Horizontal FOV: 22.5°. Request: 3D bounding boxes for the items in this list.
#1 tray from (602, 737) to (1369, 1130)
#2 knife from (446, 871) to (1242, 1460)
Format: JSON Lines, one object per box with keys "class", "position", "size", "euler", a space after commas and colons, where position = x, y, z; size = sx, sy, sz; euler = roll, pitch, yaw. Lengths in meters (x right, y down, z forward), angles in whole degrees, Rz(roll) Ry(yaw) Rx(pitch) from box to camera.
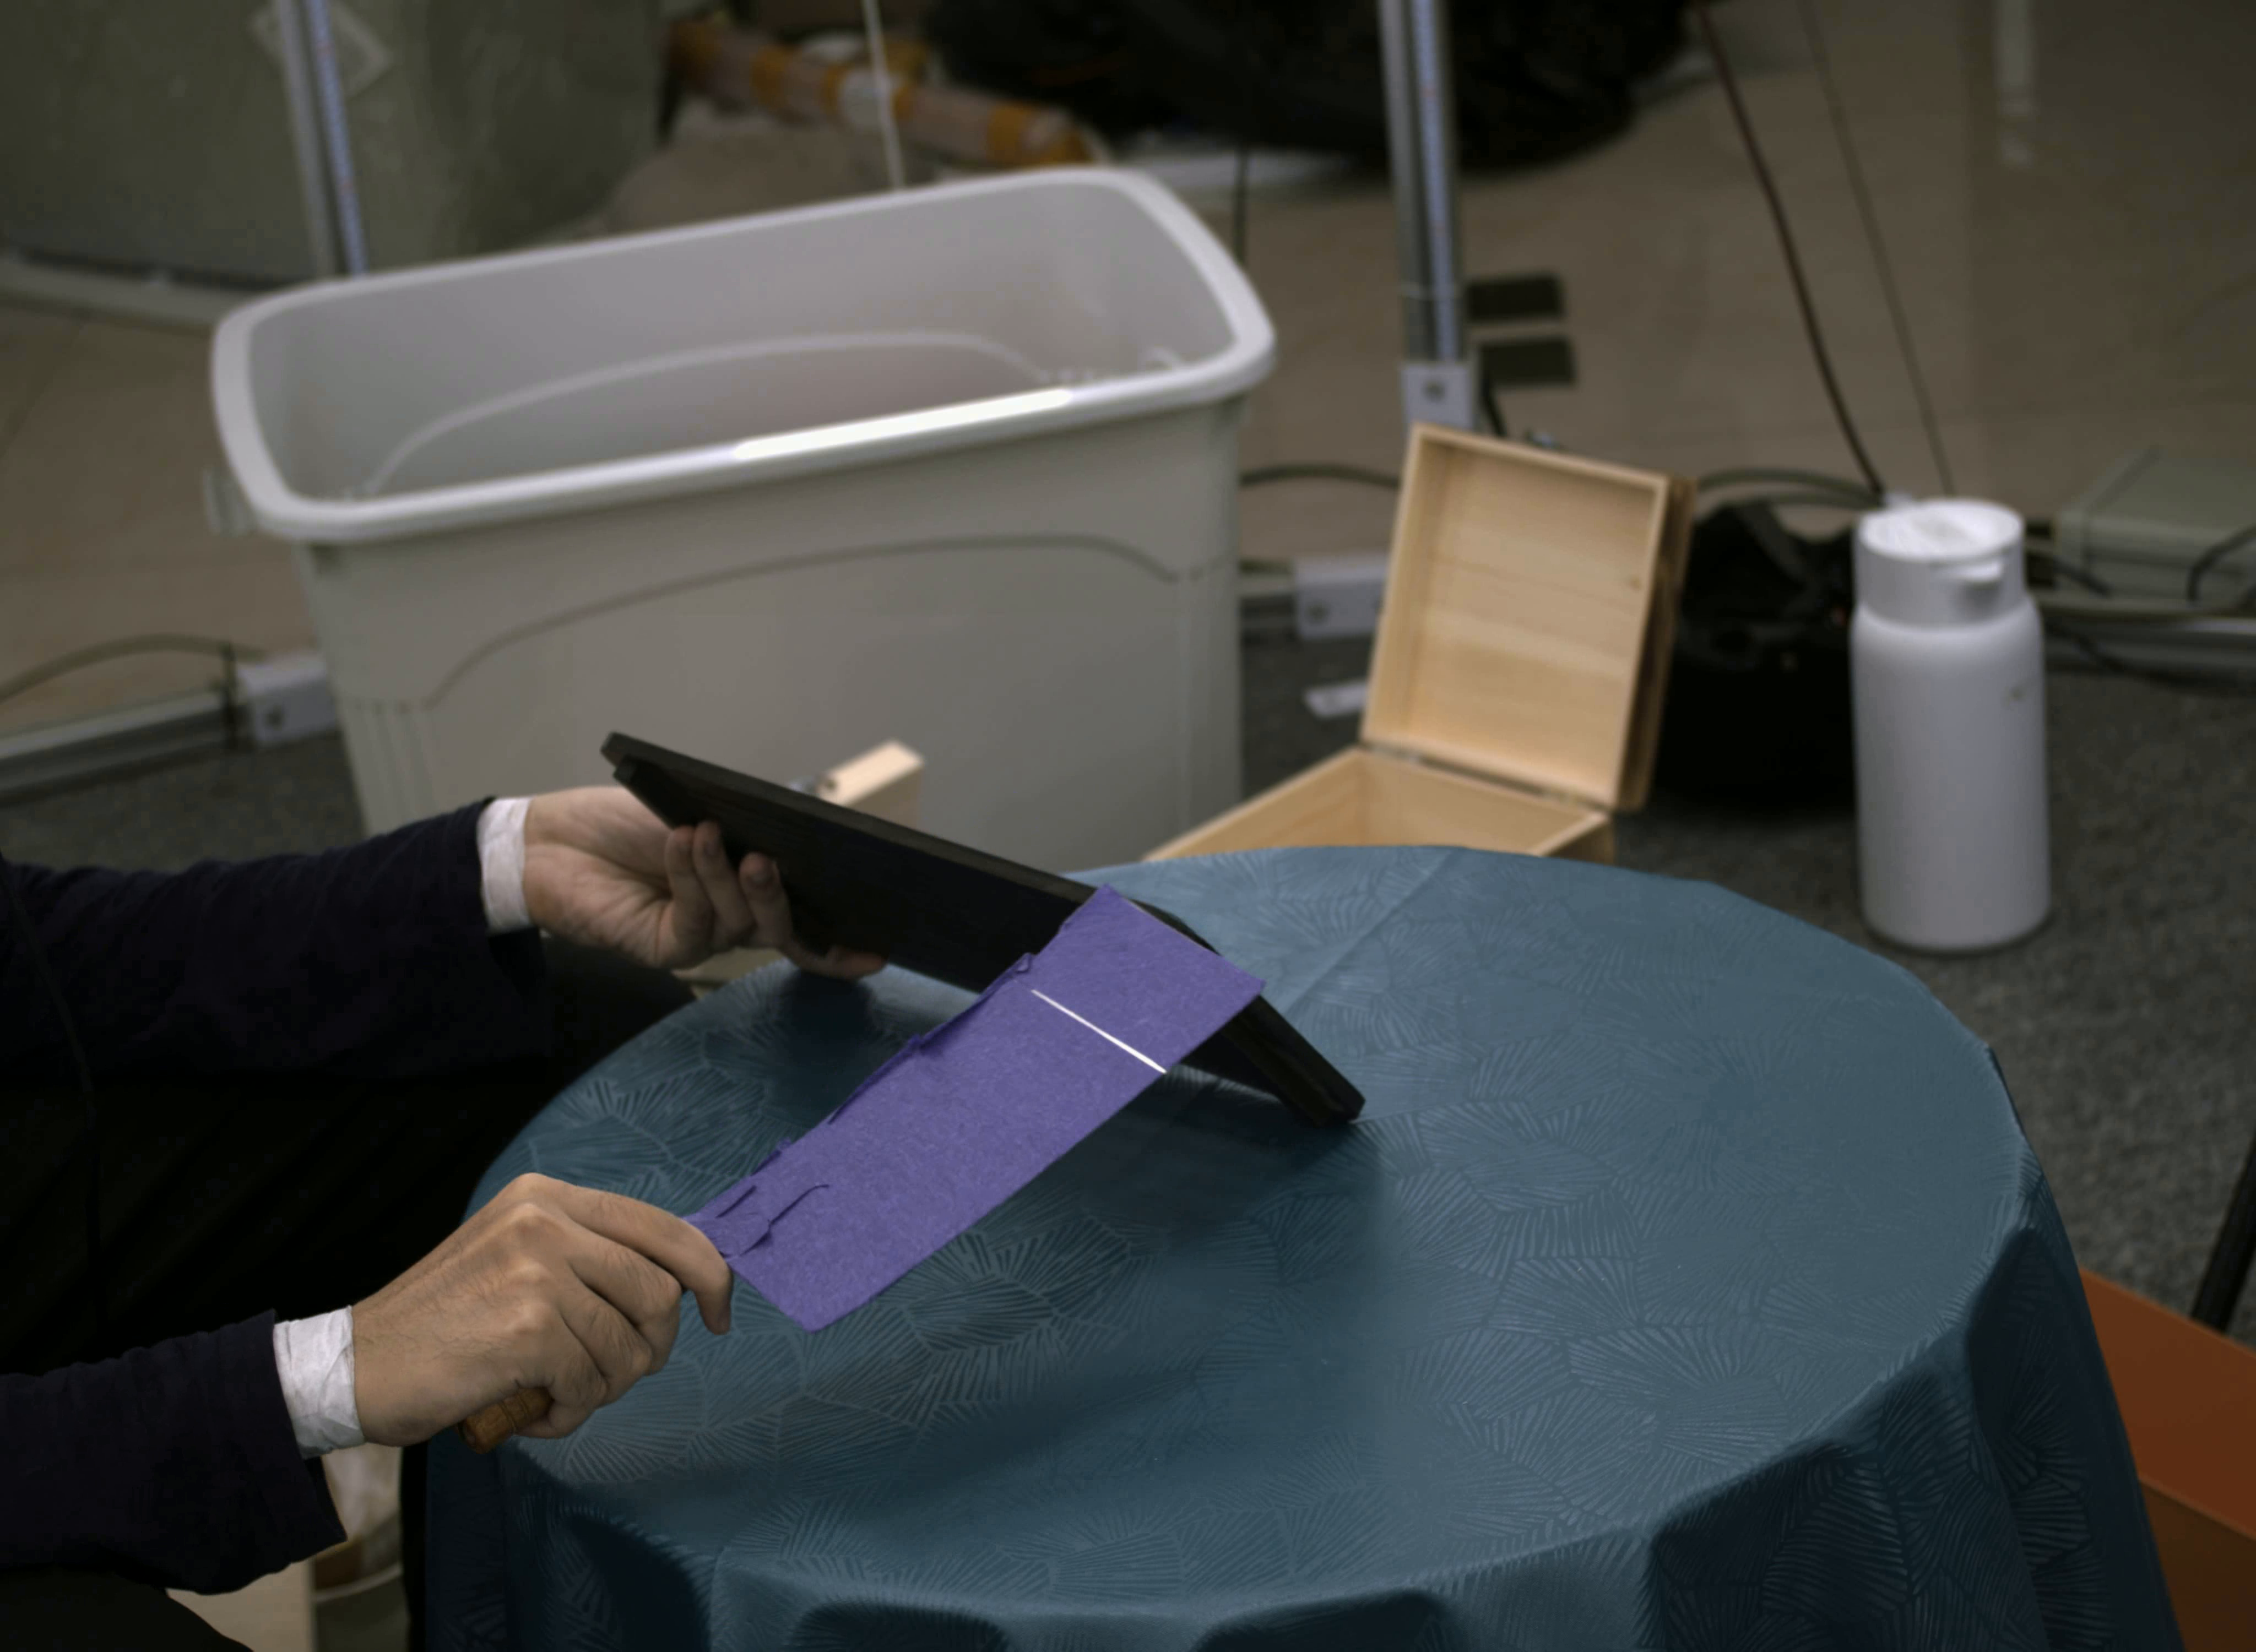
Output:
{"class": "tray", "position": [-0.060, 0.043, 2.208], "size": [0.304, 0.172, 0.018], "euler": [17, 73, 37]}
{"class": "knife", "position": [-0.096, 0.124, 1.984], "size": [0.313, 0.033, 0.103], "euler": [-40, 41, -18]}
